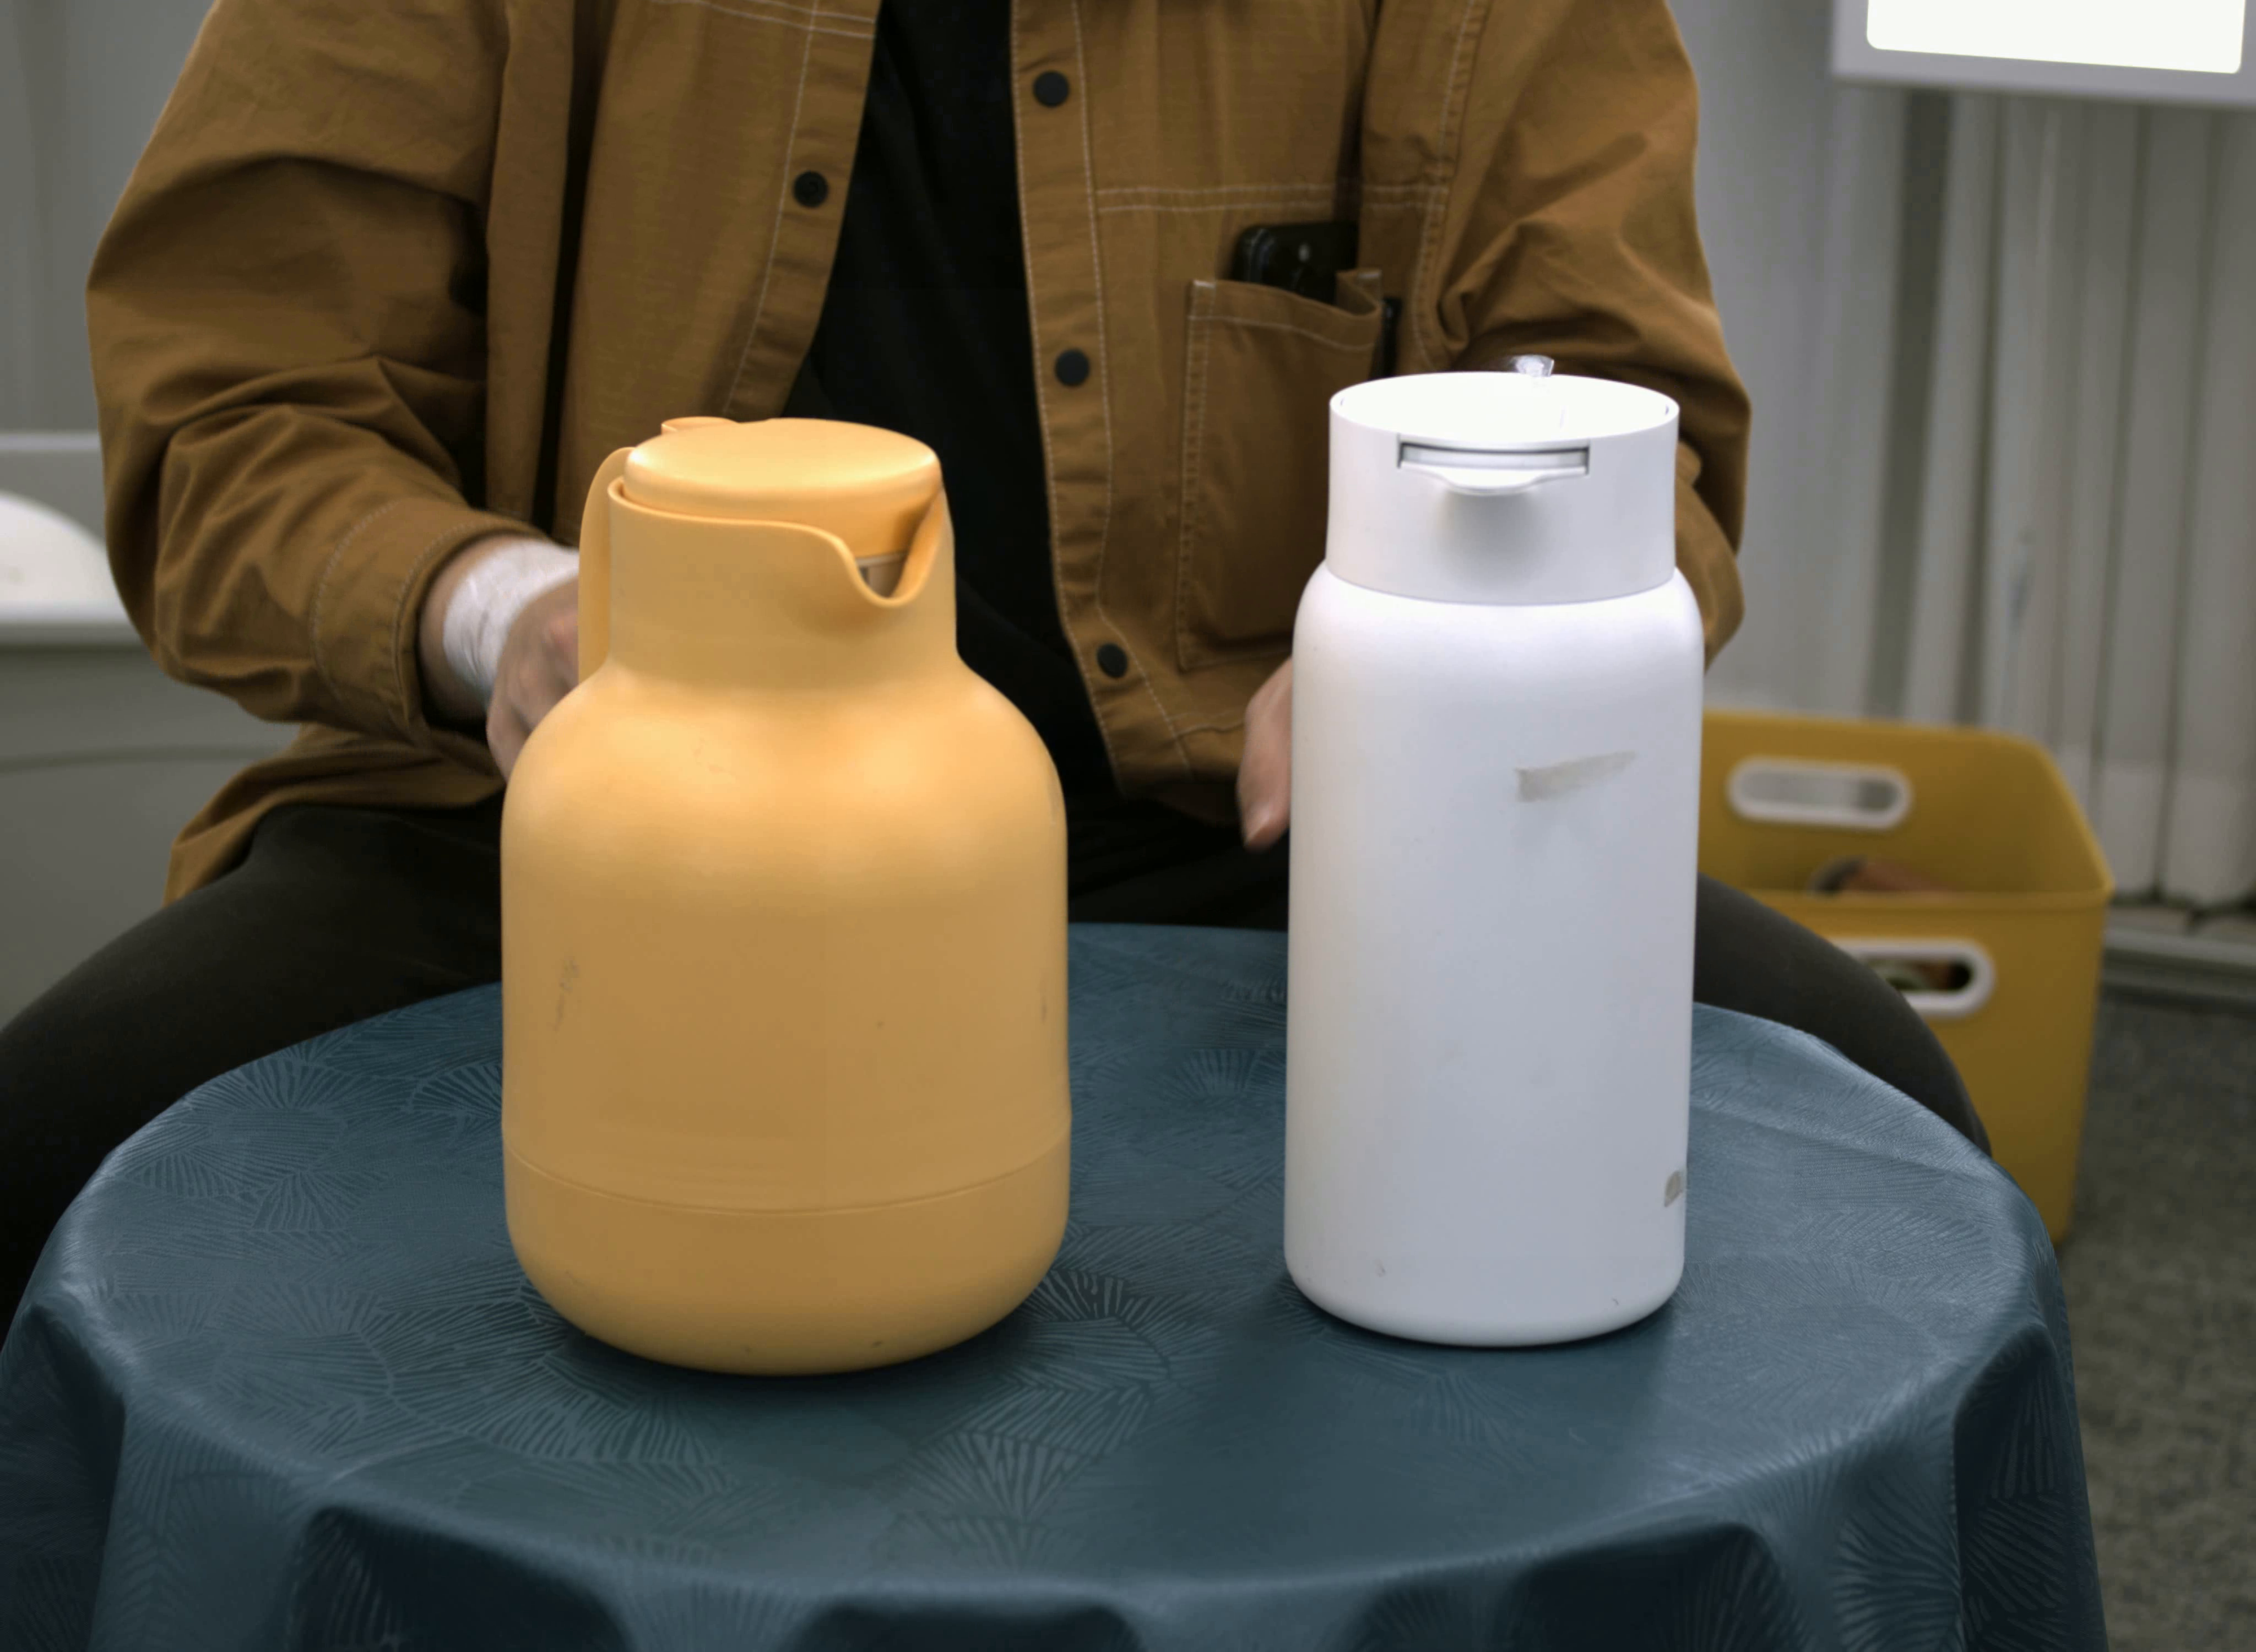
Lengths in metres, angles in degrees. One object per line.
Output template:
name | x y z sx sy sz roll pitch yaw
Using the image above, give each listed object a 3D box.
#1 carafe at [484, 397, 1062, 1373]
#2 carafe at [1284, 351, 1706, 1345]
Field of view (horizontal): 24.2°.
carafe | -0.106 0.008 1.500 0.164 0.262 0.200 -4 18 -26
carafe | 0.105 0.002 1.522 0.123 0.271 0.172 0 16 7
